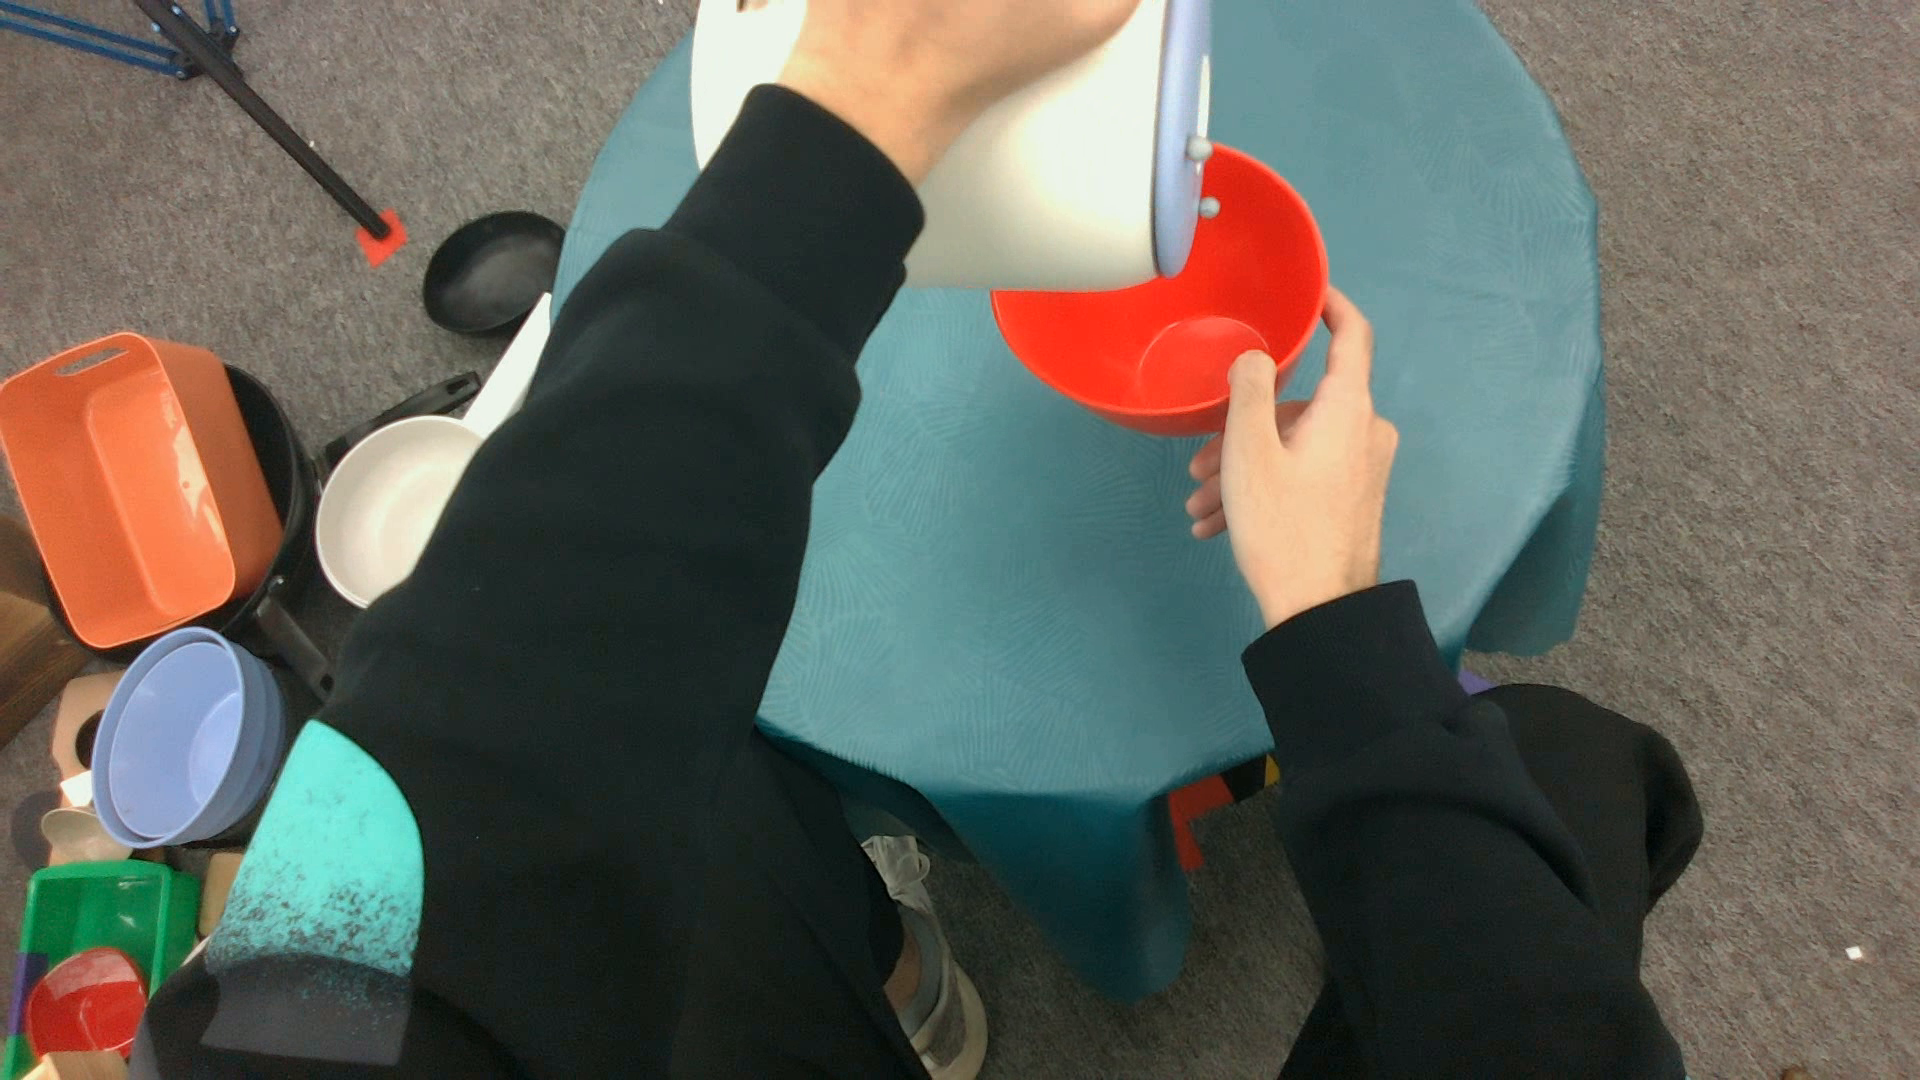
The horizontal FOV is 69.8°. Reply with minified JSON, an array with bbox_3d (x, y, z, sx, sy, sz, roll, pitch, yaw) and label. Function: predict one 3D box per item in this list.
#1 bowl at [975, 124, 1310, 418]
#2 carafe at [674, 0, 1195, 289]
[{"bbox_3d":[0.092,-0.113,0.652,0.148,0.104,0.148,-7,63,14],"label":"bowl"},{"bbox_3d":[-0.012,-0.174,0.508,0.182,0.191,0.132,-1,72,18],"label":"carafe"}]
